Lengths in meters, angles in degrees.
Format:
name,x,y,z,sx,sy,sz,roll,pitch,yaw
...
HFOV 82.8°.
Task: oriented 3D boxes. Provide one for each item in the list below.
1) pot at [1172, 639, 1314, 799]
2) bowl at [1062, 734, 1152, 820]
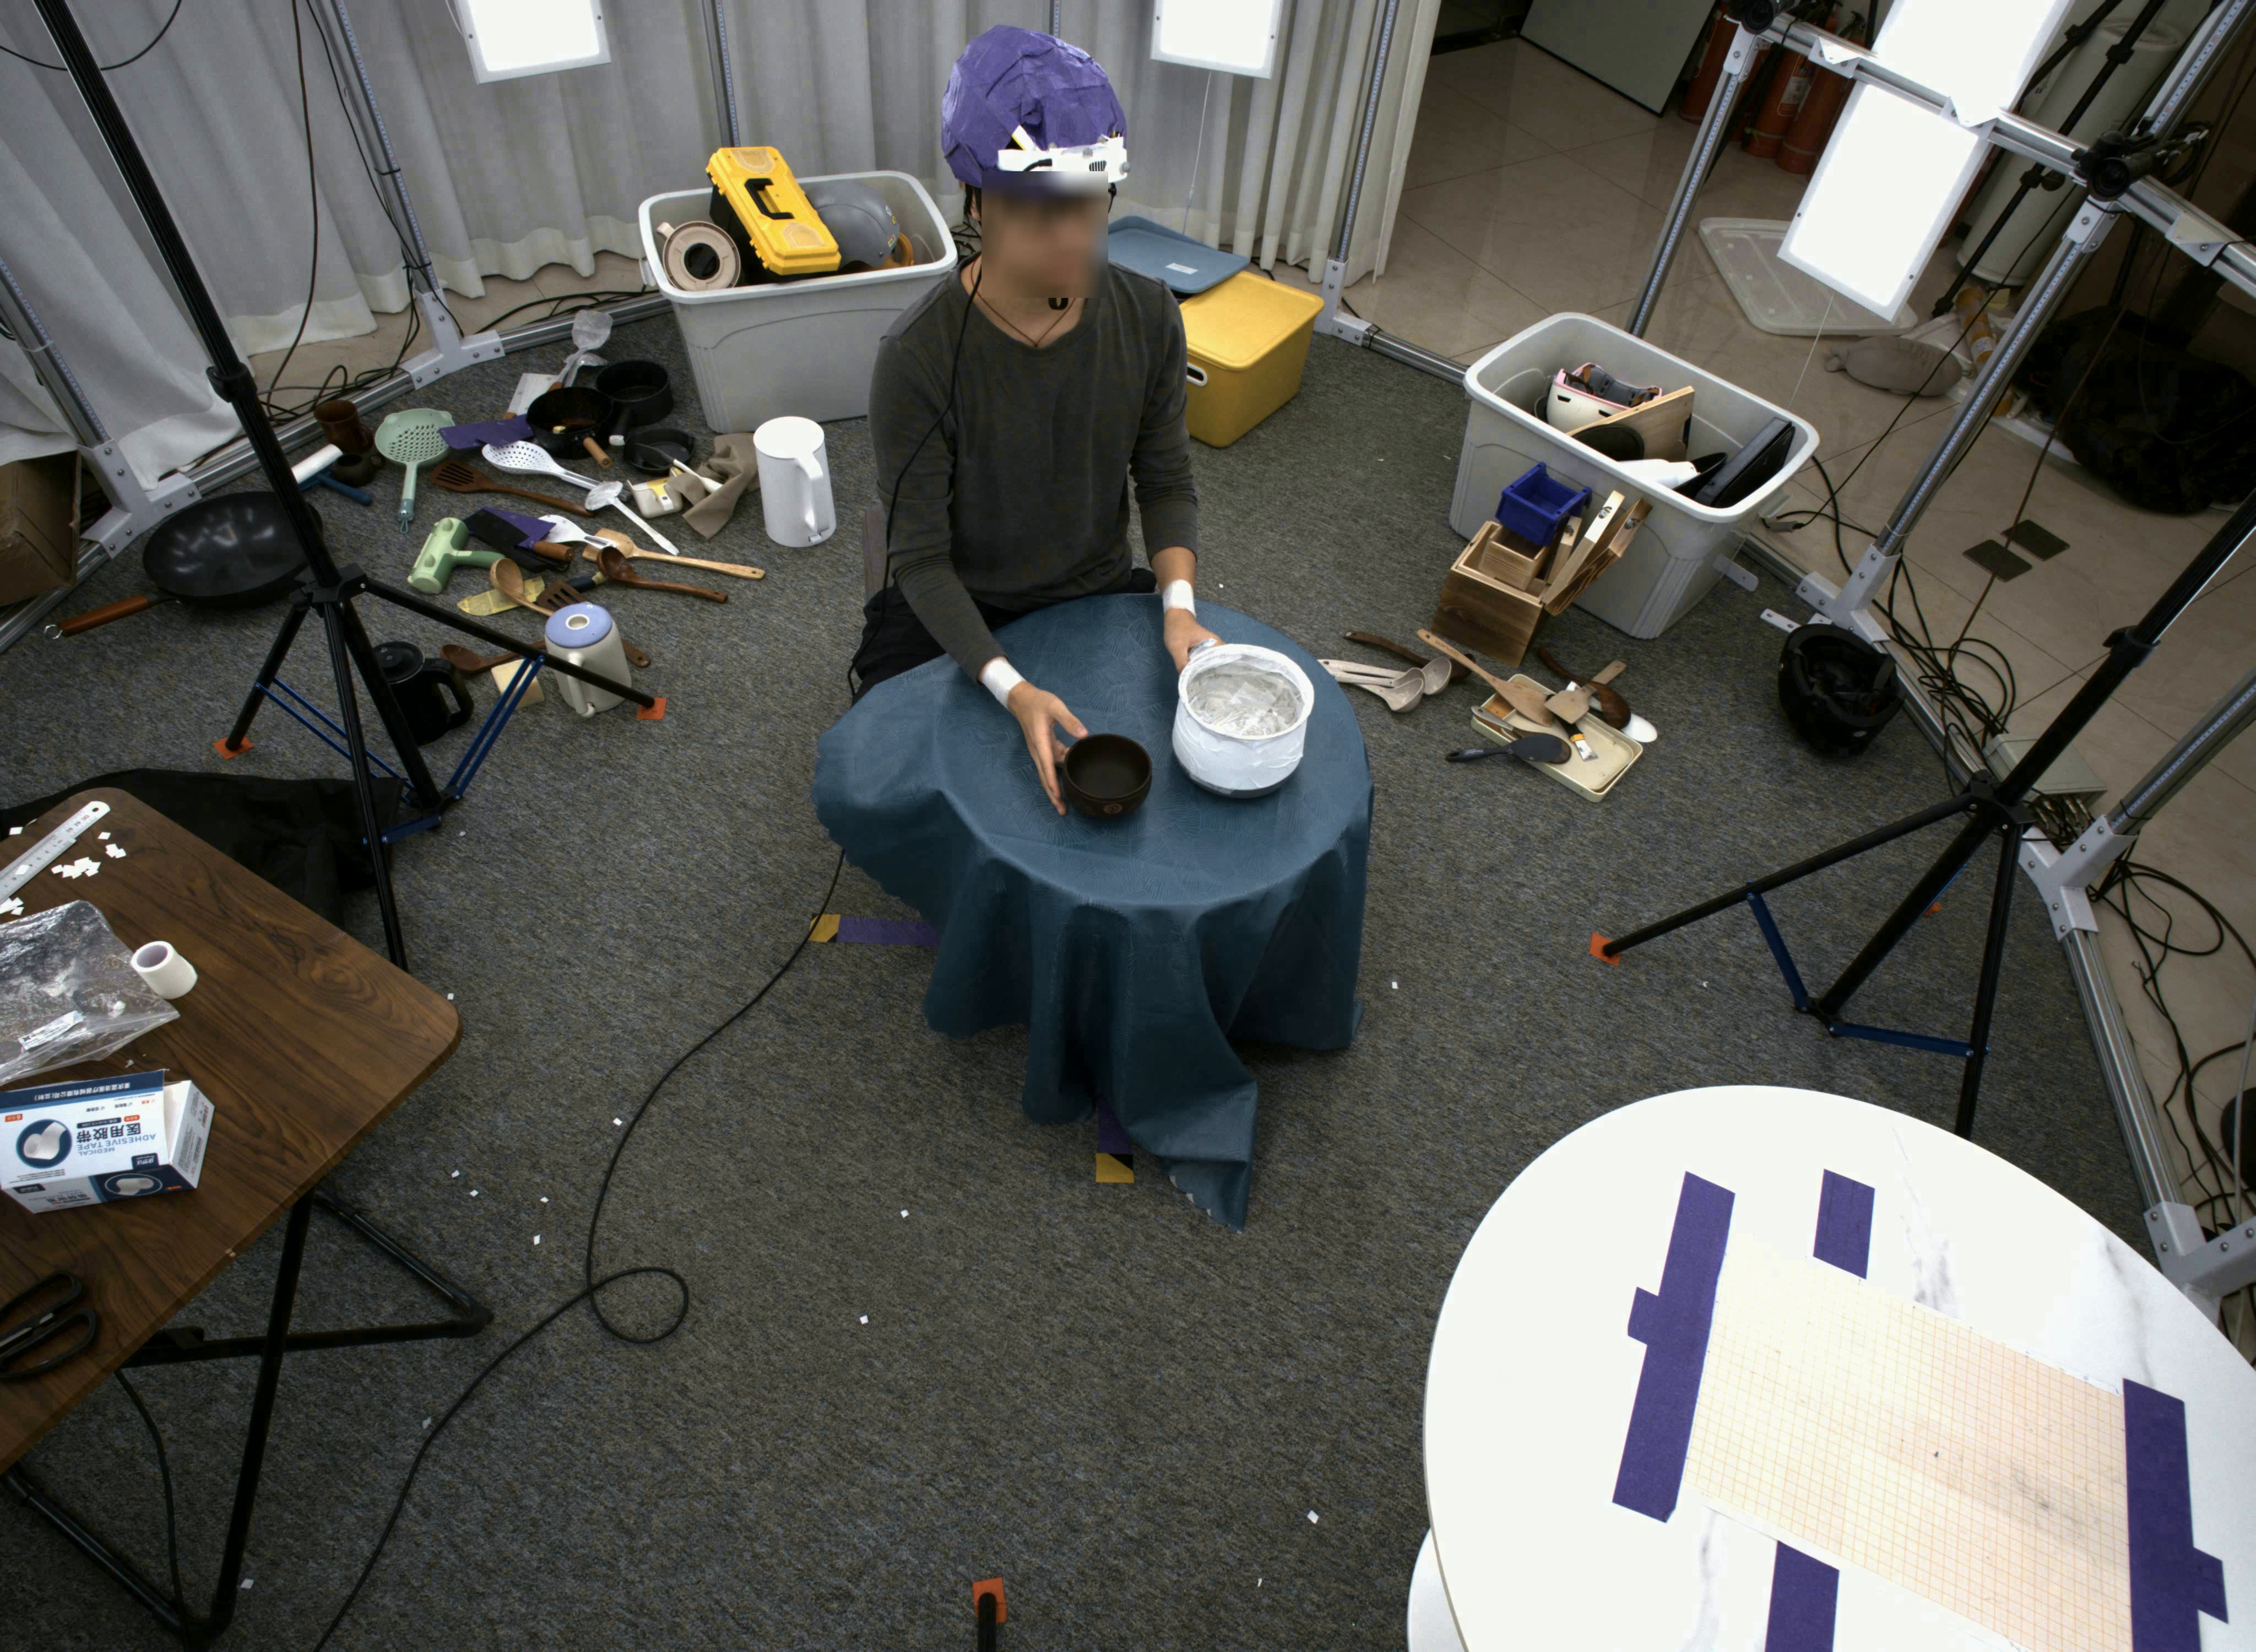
name,x,y,z,sx,sy,sz,roll,pitch,yaw
pot,0.137,-0.154,1.723,0.179,0.133,0.239,-19,52,-19
bowl,-0.028,-0.056,1.668,0.118,0.068,0.121,1,48,-1
